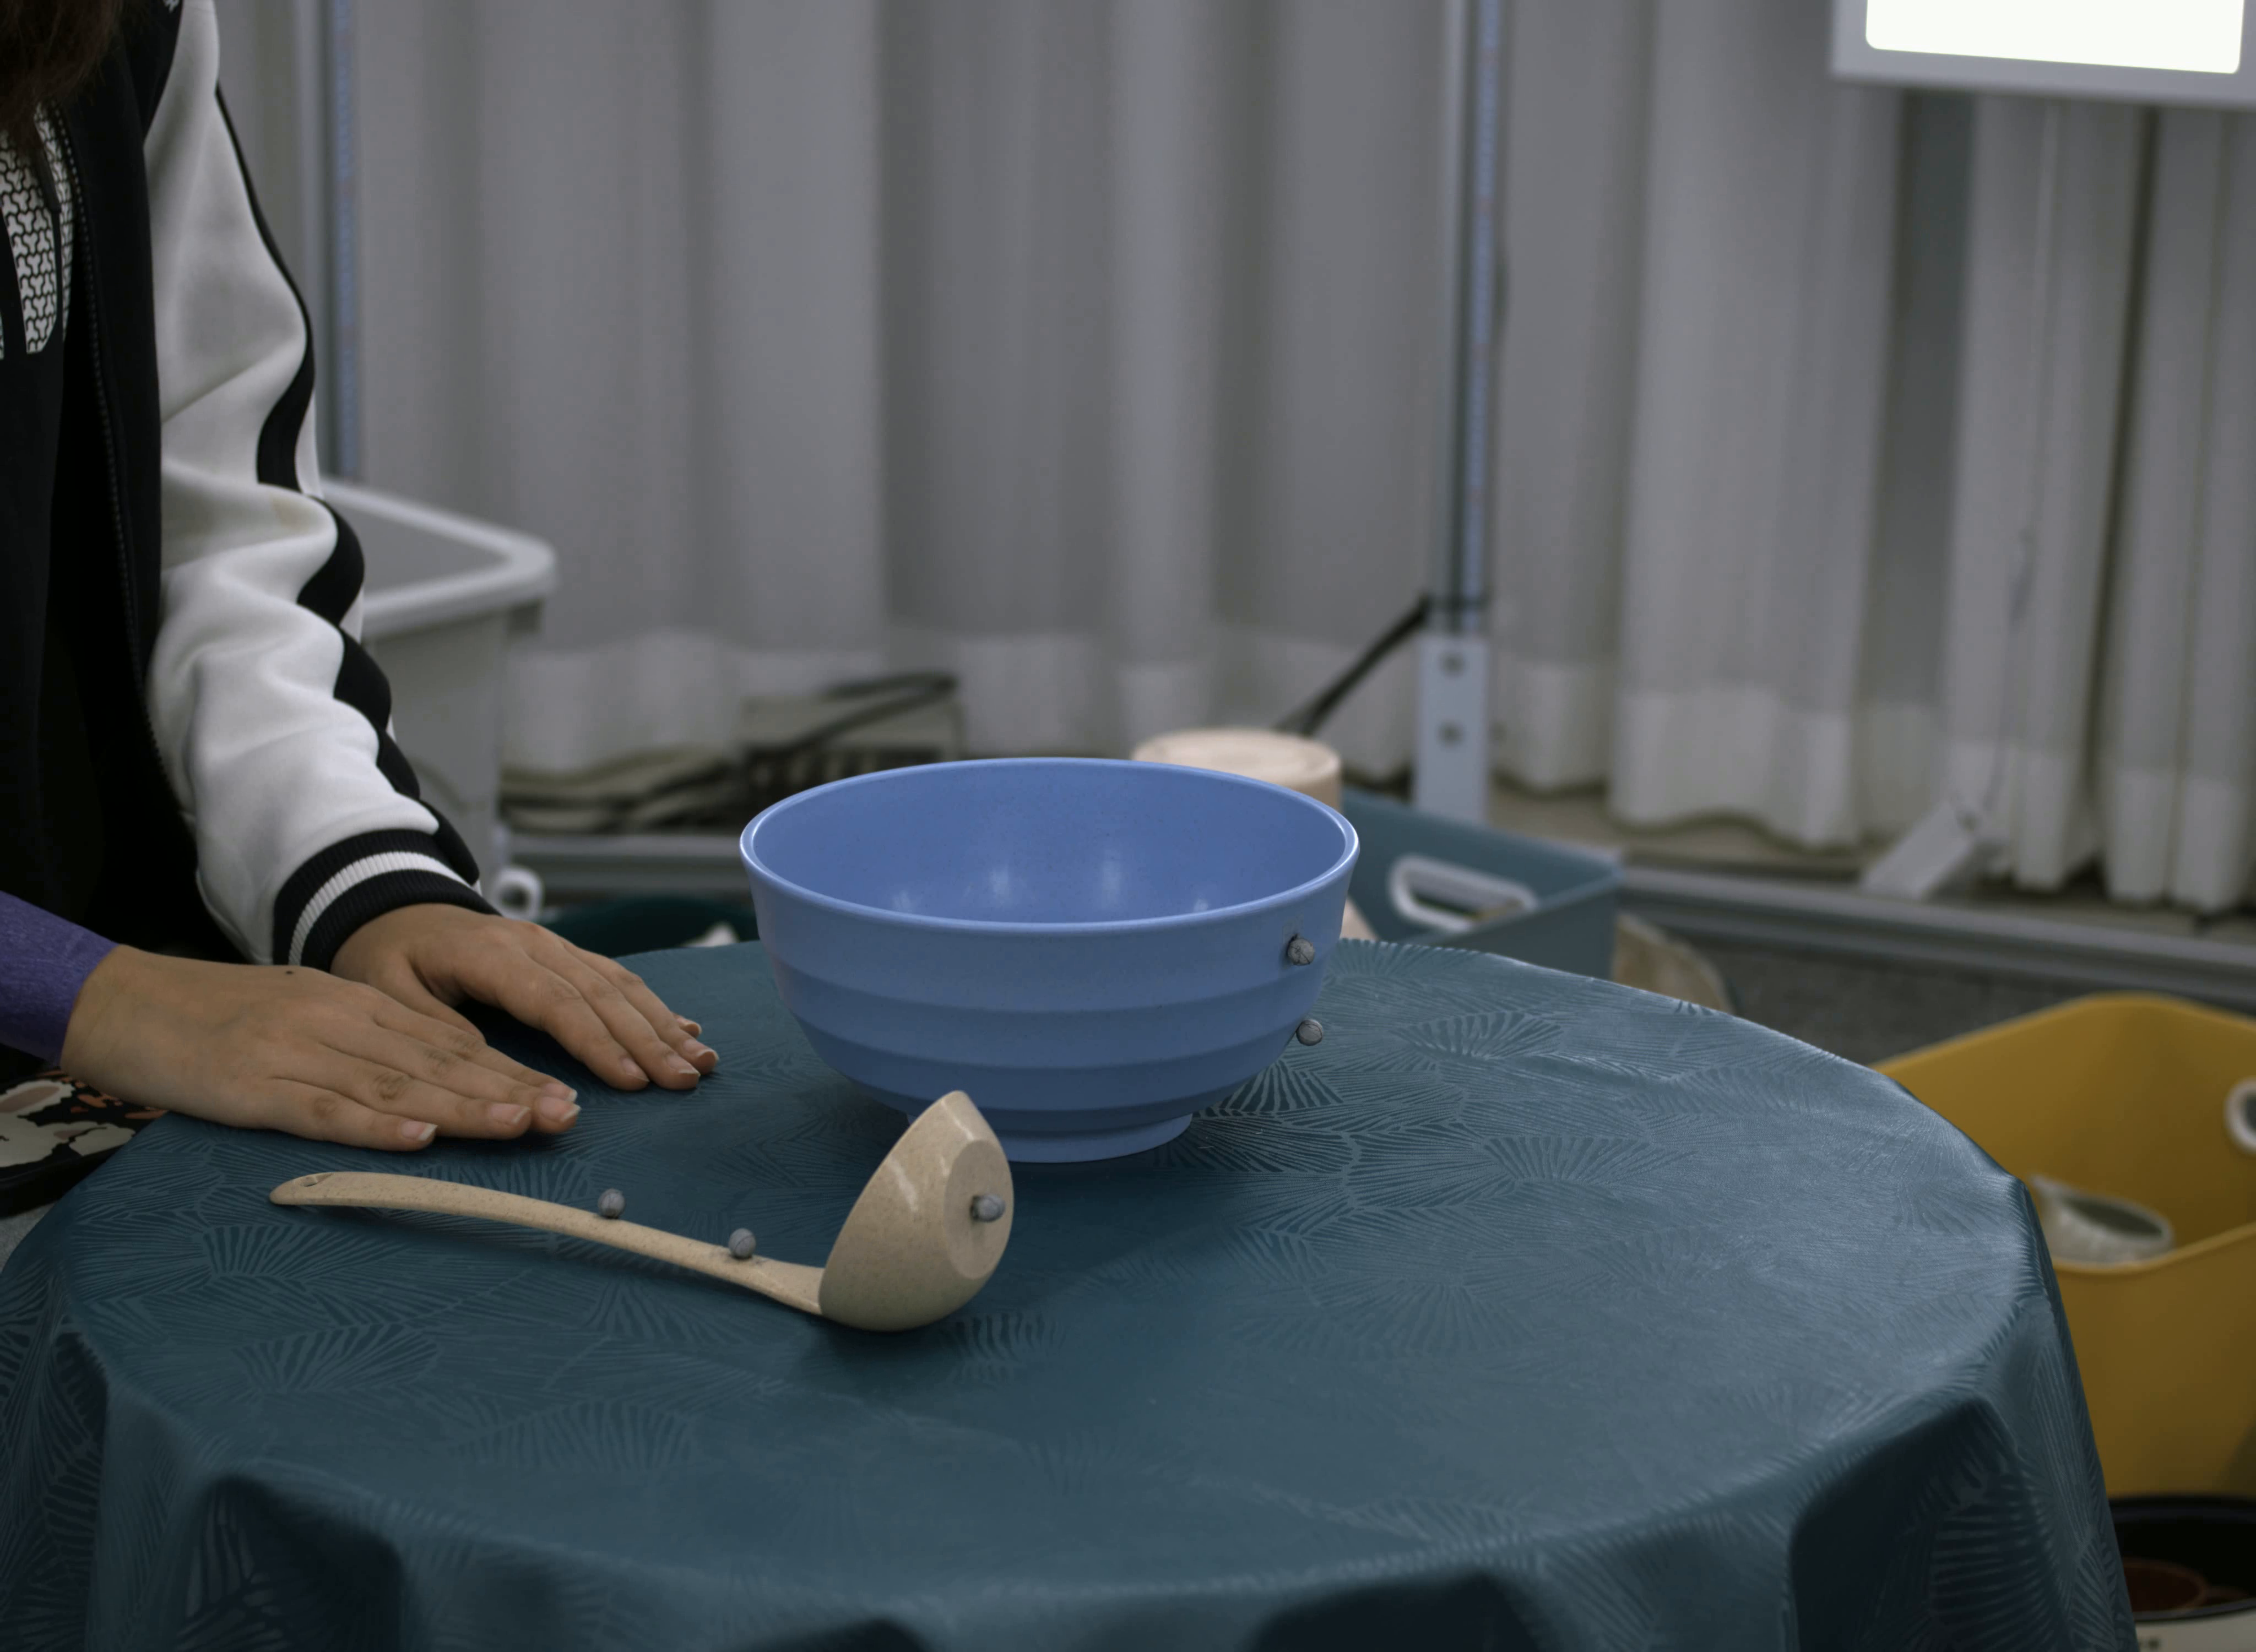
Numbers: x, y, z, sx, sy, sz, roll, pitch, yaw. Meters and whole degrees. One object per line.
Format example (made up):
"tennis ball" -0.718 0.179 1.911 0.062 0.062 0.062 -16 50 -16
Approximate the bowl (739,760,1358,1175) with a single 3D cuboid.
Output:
"bowl" -0.024 0.051 1.676 0.196 0.096 0.195 -1 17 1

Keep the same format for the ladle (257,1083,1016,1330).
"ladle" -0.152 0.096 1.538 0.252 0.073 0.072 7 24 25
